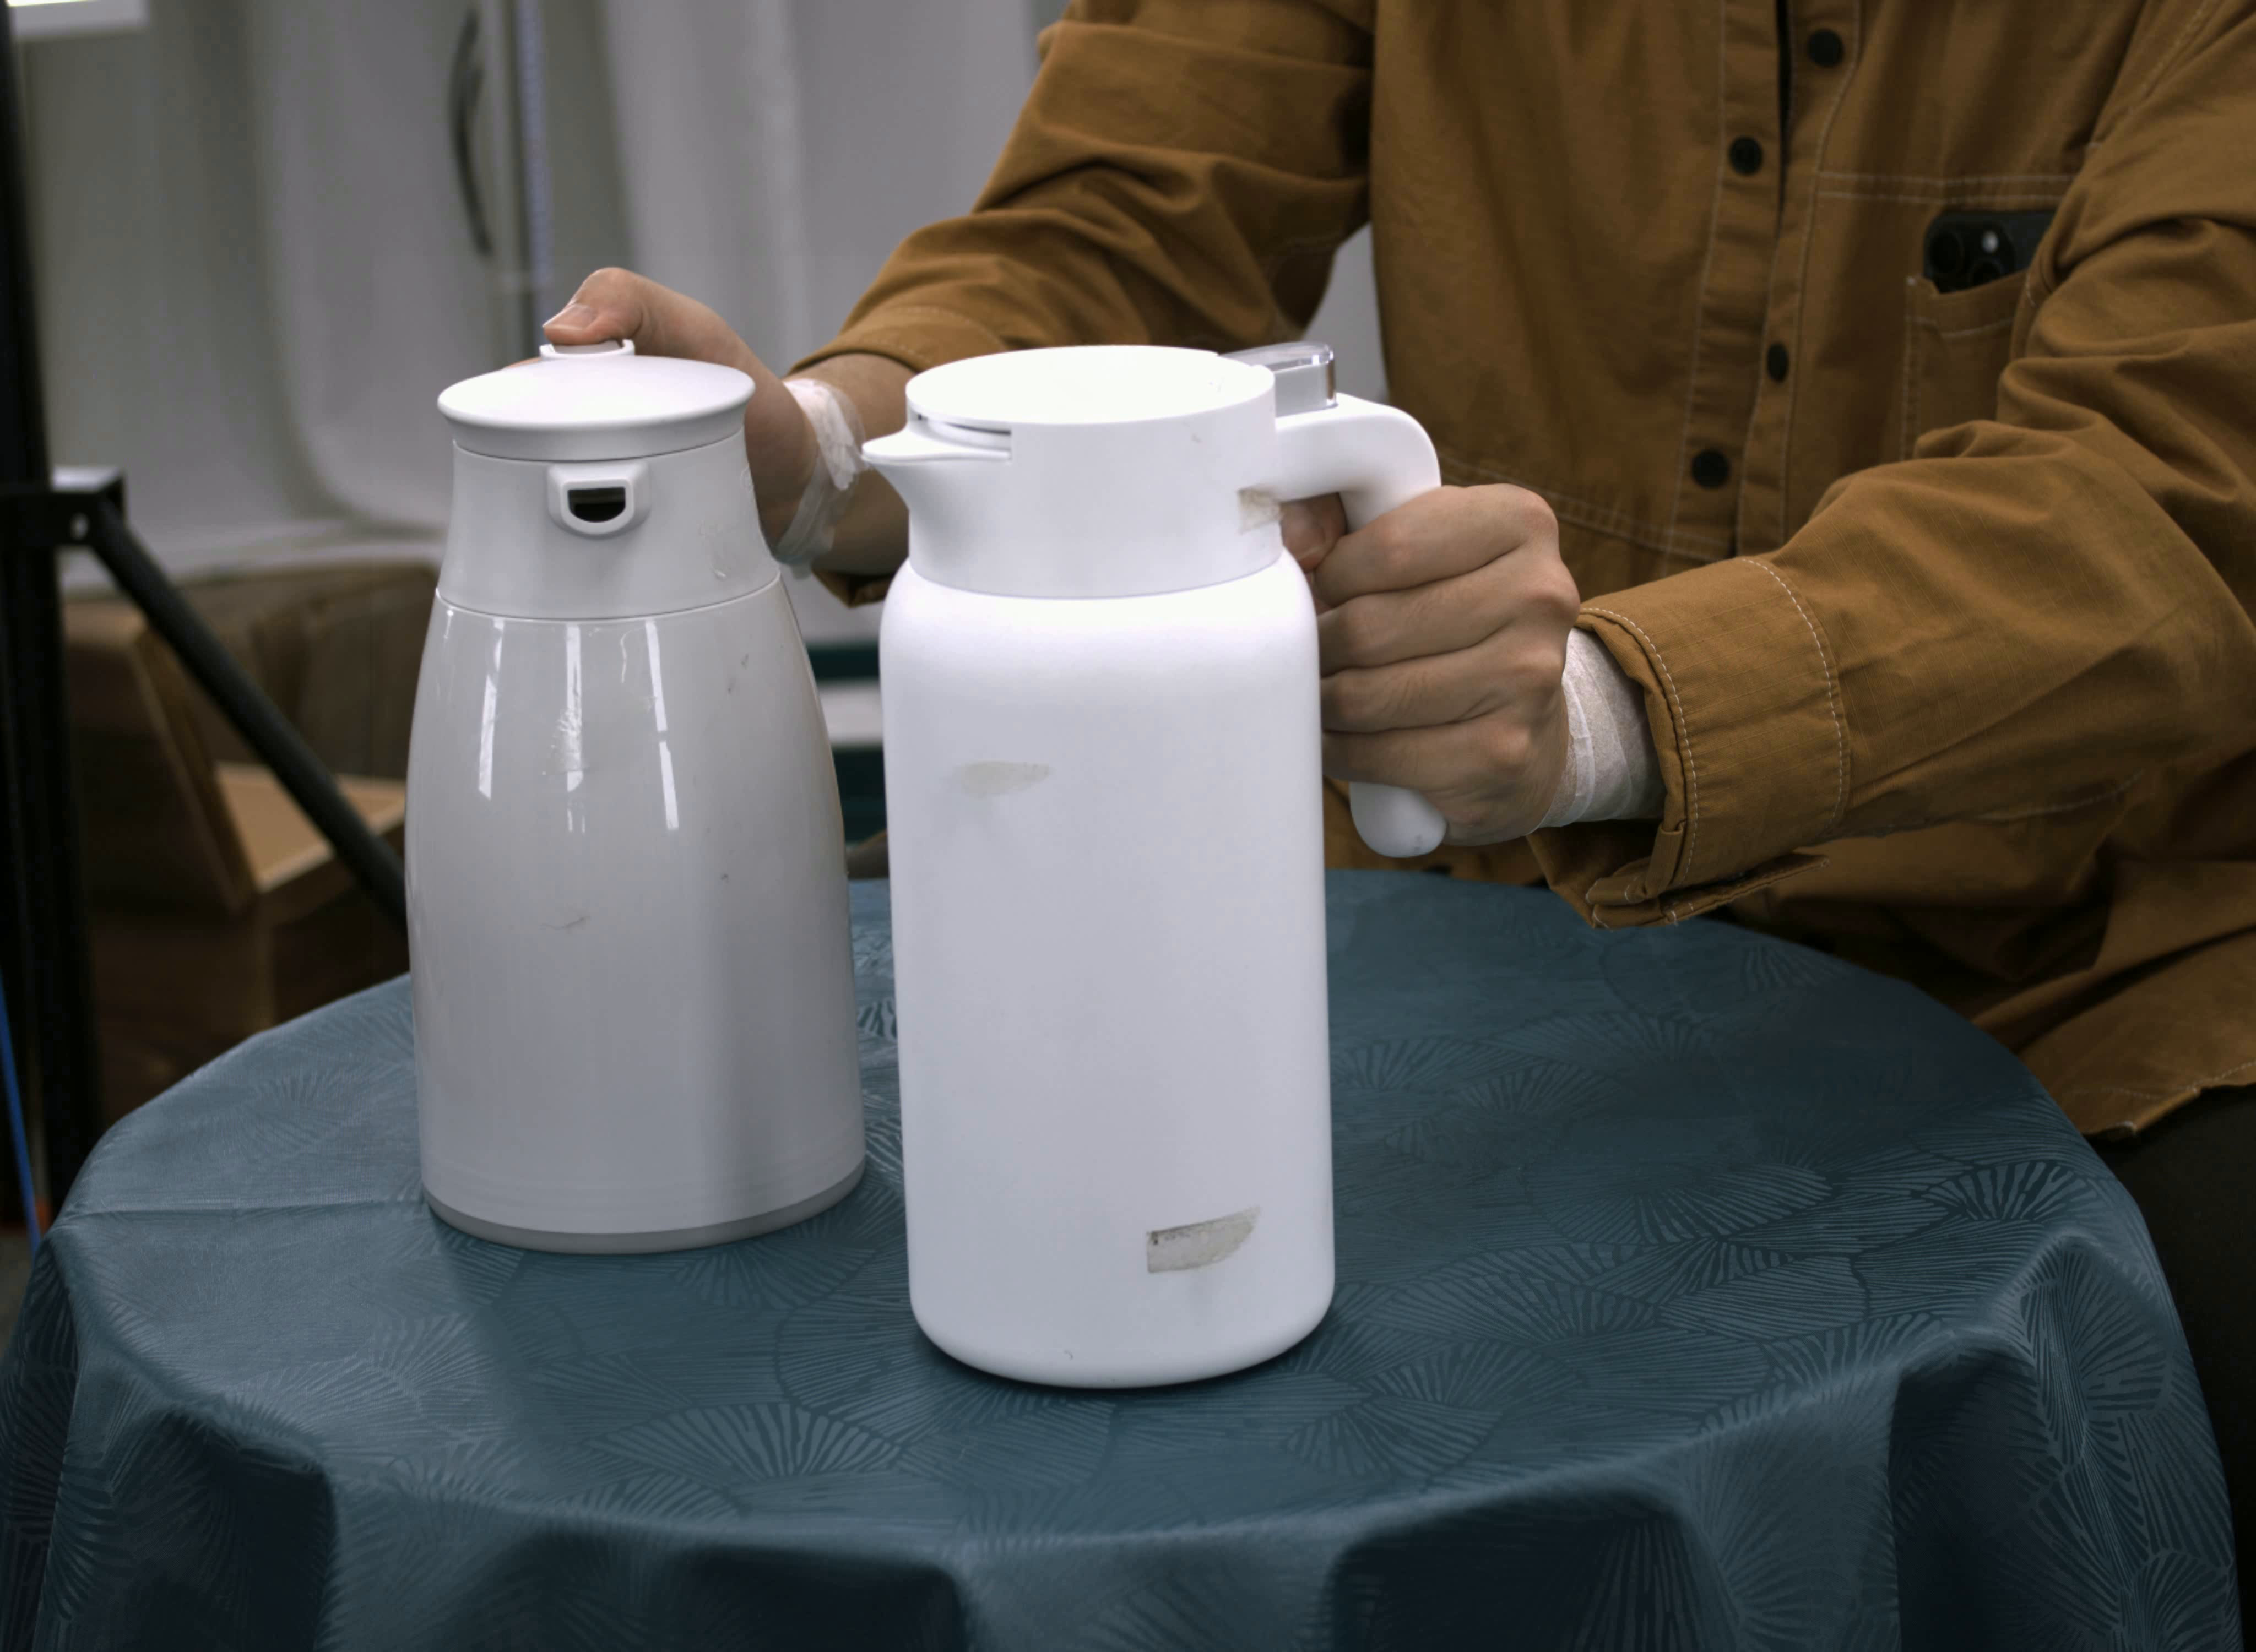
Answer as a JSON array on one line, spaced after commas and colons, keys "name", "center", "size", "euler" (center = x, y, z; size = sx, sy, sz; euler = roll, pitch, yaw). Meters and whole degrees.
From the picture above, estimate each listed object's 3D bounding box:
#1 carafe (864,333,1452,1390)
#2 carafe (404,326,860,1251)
[{"name": "carafe", "center": [0.009, 0.005, 1.428], "size": [0.169, 0.269, 0.126], "euler": [-11, 16, -30]}, {"name": "carafe", "center": [-0.151, -0.019, 1.576], "size": [0.131, 0.248, 0.169], "euler": [-3, 14, -4]}]
